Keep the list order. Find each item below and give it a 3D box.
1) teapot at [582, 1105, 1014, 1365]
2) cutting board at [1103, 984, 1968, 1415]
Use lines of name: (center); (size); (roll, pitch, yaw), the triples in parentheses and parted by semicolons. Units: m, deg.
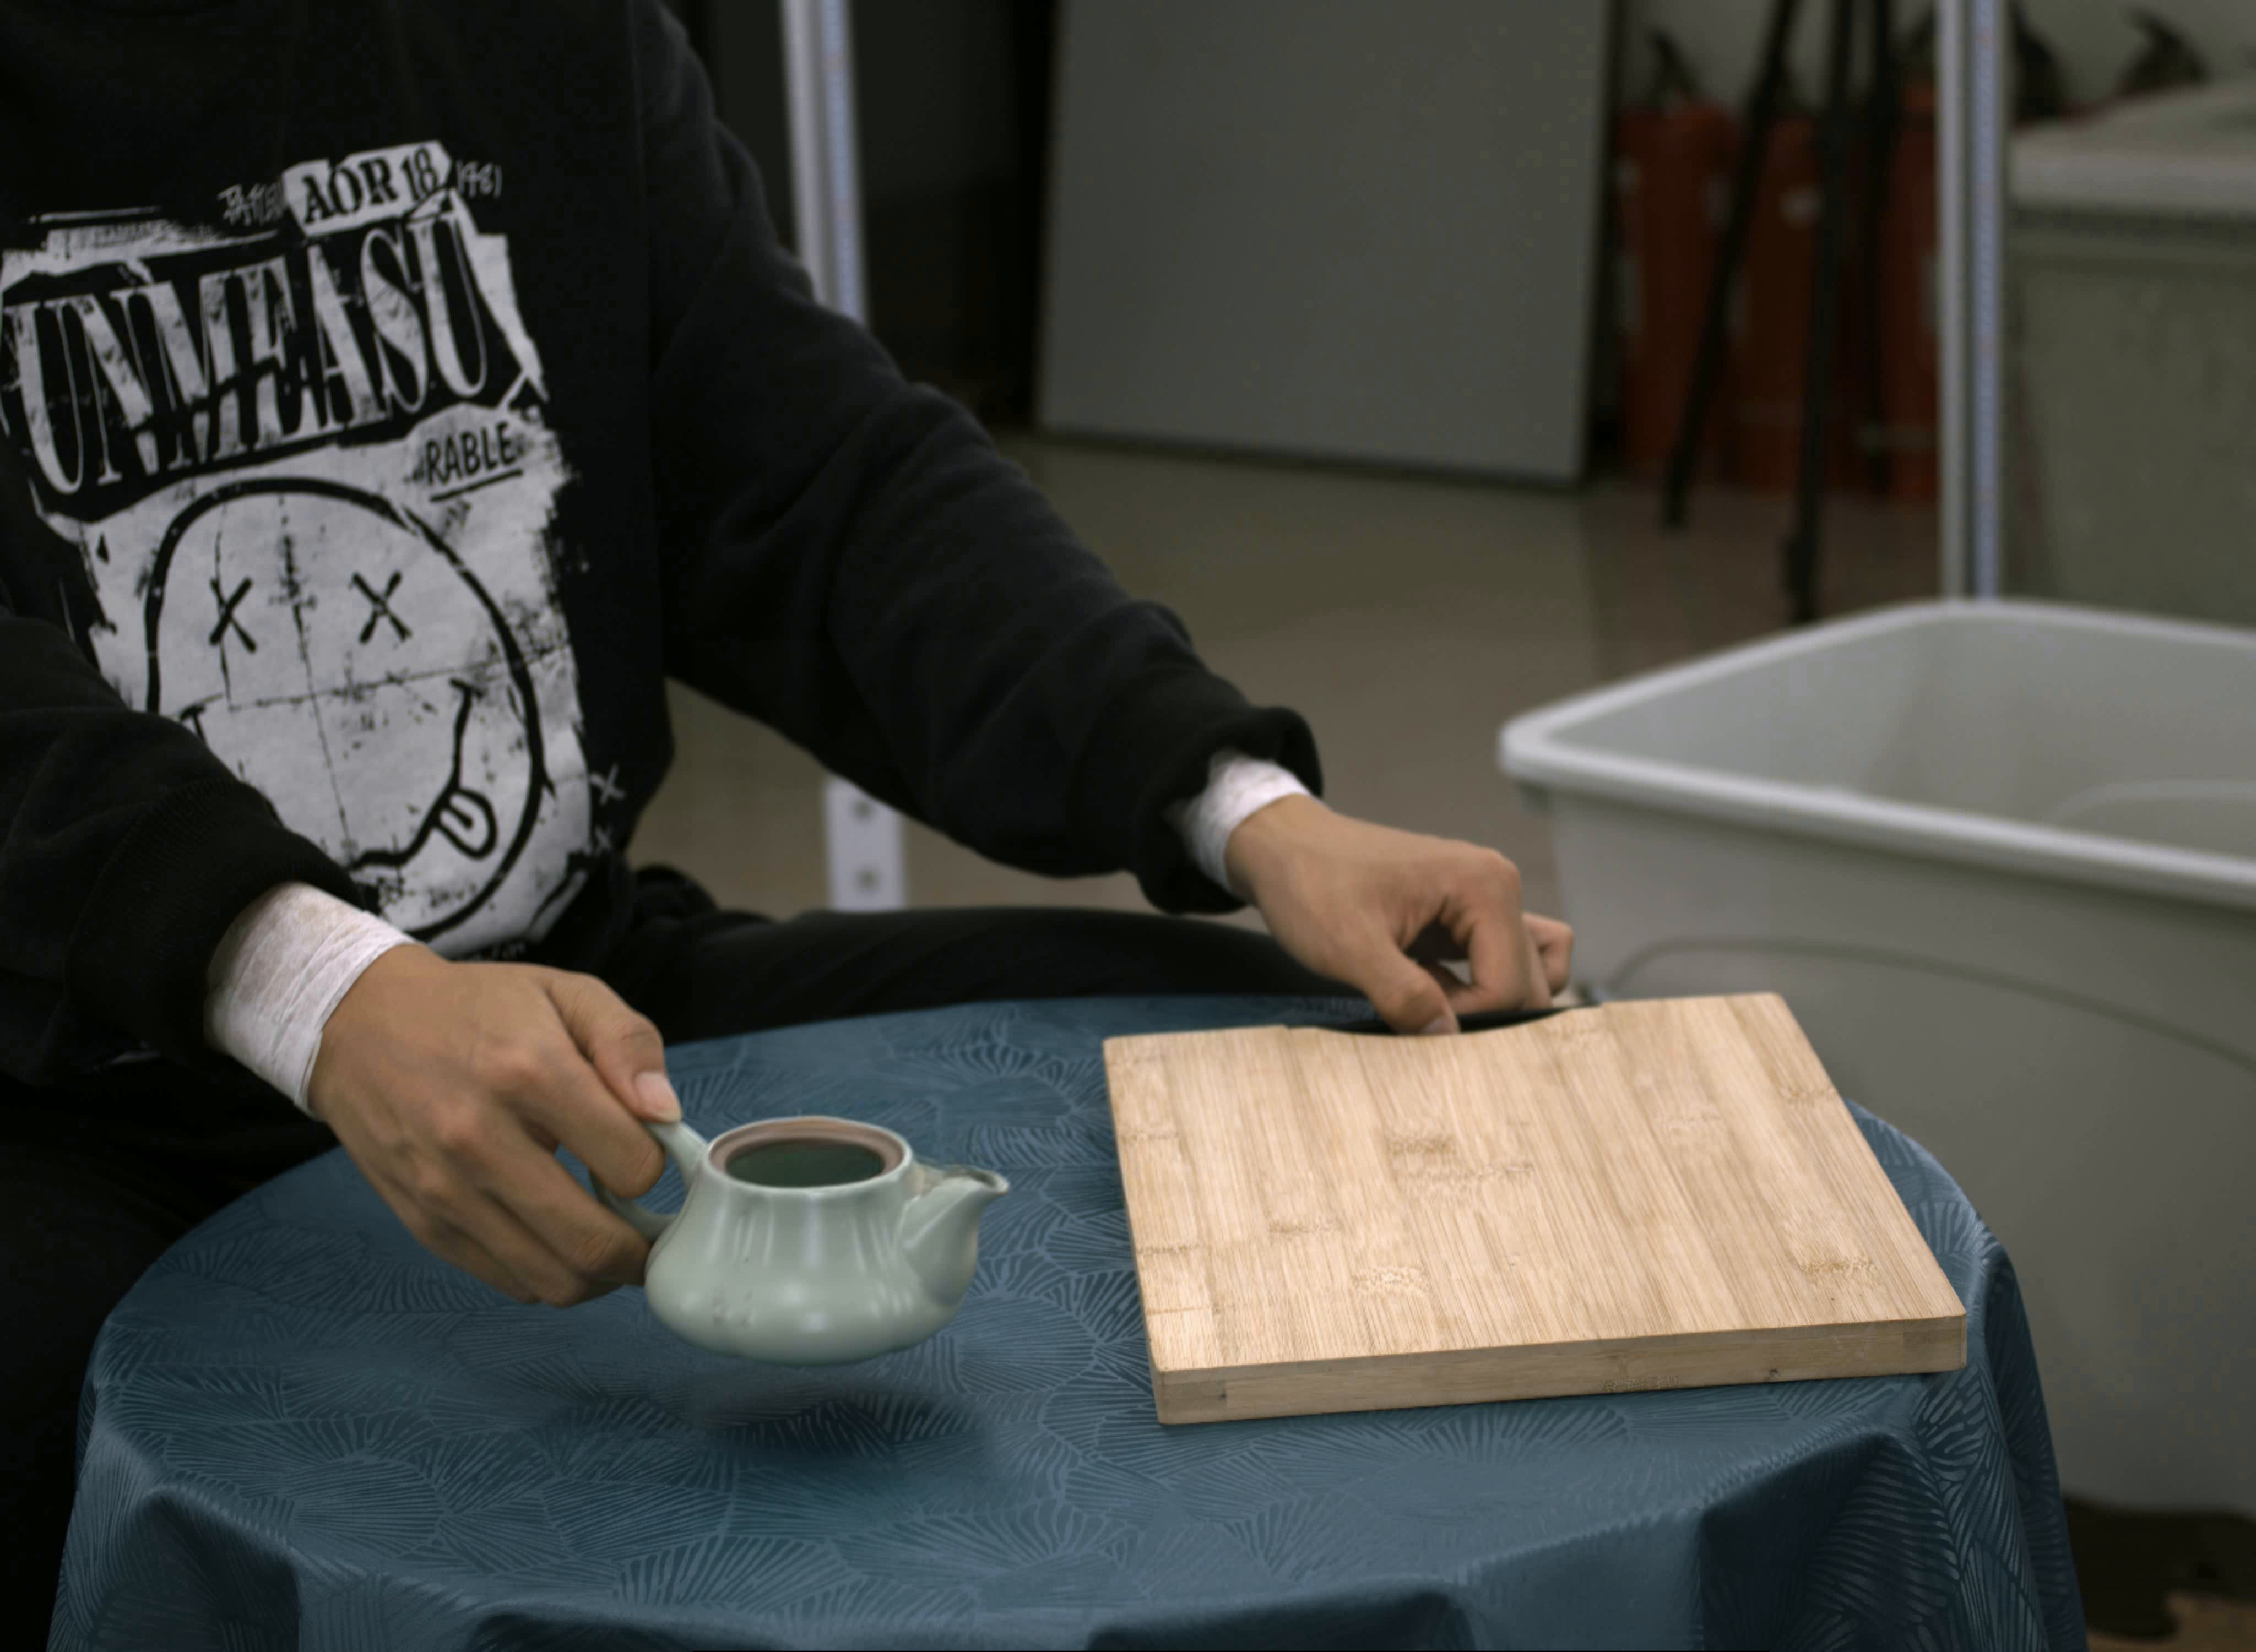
teapot: (-0.097, 0.118, 1.578); (0.137, 0.062, 0.095); (8, 20, 21)
cutting board: (0.118, 0.115, 1.726); (0.247, 0.024, 0.349); (-5, 14, -2)
